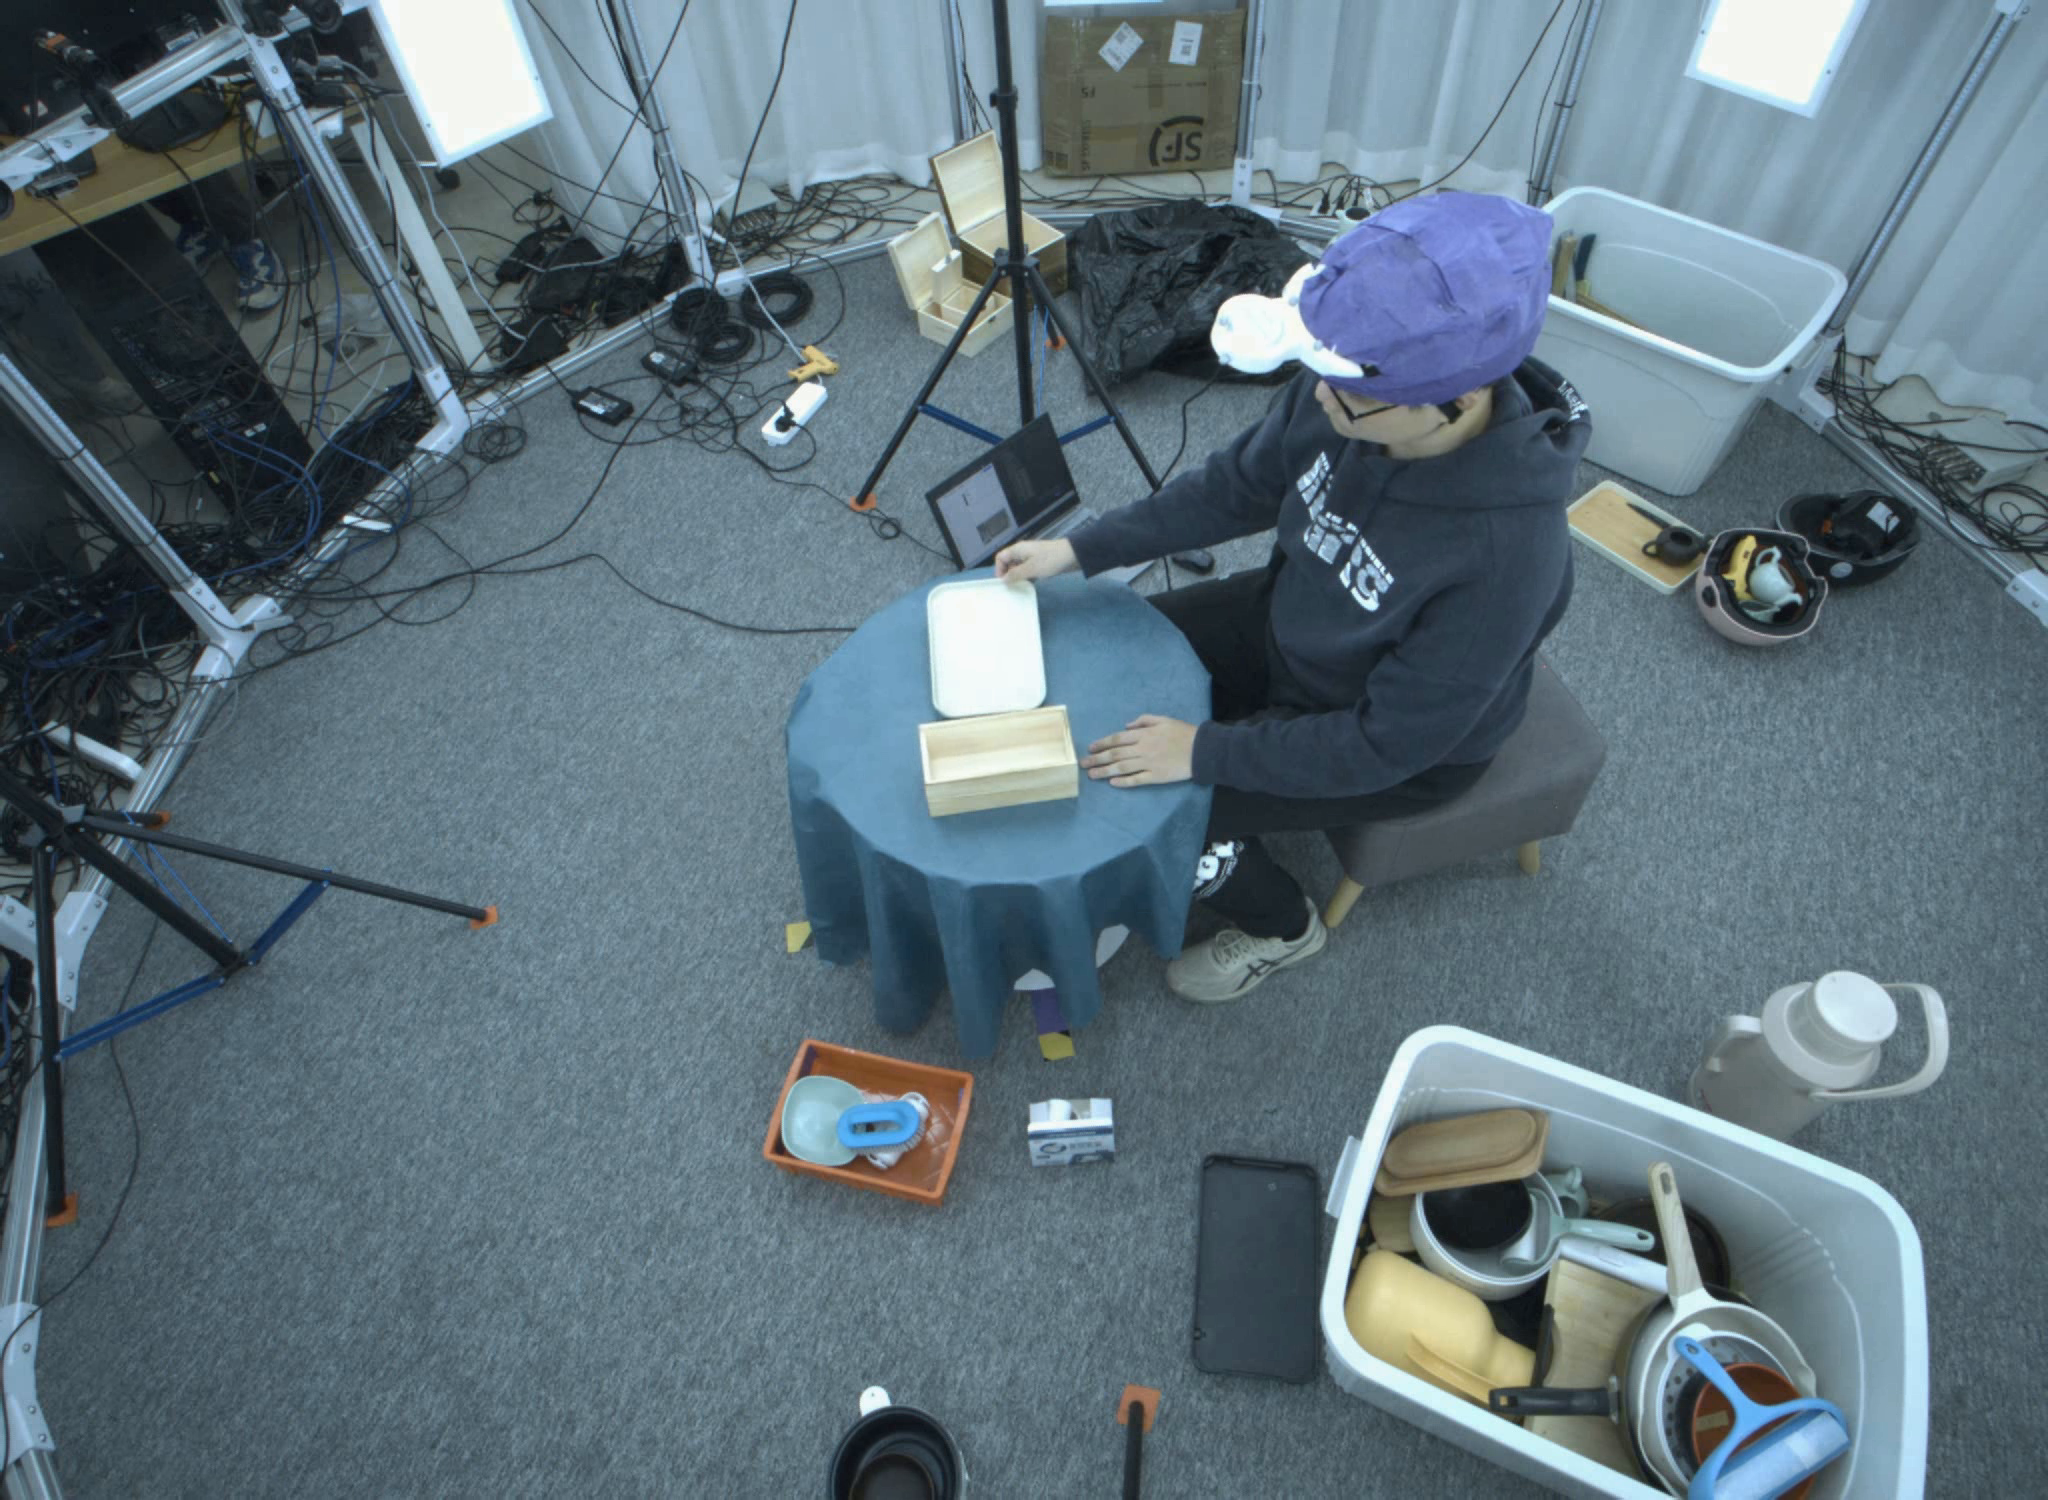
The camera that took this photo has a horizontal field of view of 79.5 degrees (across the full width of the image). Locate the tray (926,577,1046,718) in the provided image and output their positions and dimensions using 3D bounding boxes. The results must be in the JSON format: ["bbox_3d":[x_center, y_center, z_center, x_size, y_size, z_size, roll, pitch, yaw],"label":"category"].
[{"bbox_3d":[-0.060,-0.157,1.870,0.171,0.017,0.237,-5,64,-3],"label":"tray"}]

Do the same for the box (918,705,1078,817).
[{"bbox_3d":[-0.036,0.015,1.729,0.212,0.081,0.106,-8,55,-4],"label":"box"}]
